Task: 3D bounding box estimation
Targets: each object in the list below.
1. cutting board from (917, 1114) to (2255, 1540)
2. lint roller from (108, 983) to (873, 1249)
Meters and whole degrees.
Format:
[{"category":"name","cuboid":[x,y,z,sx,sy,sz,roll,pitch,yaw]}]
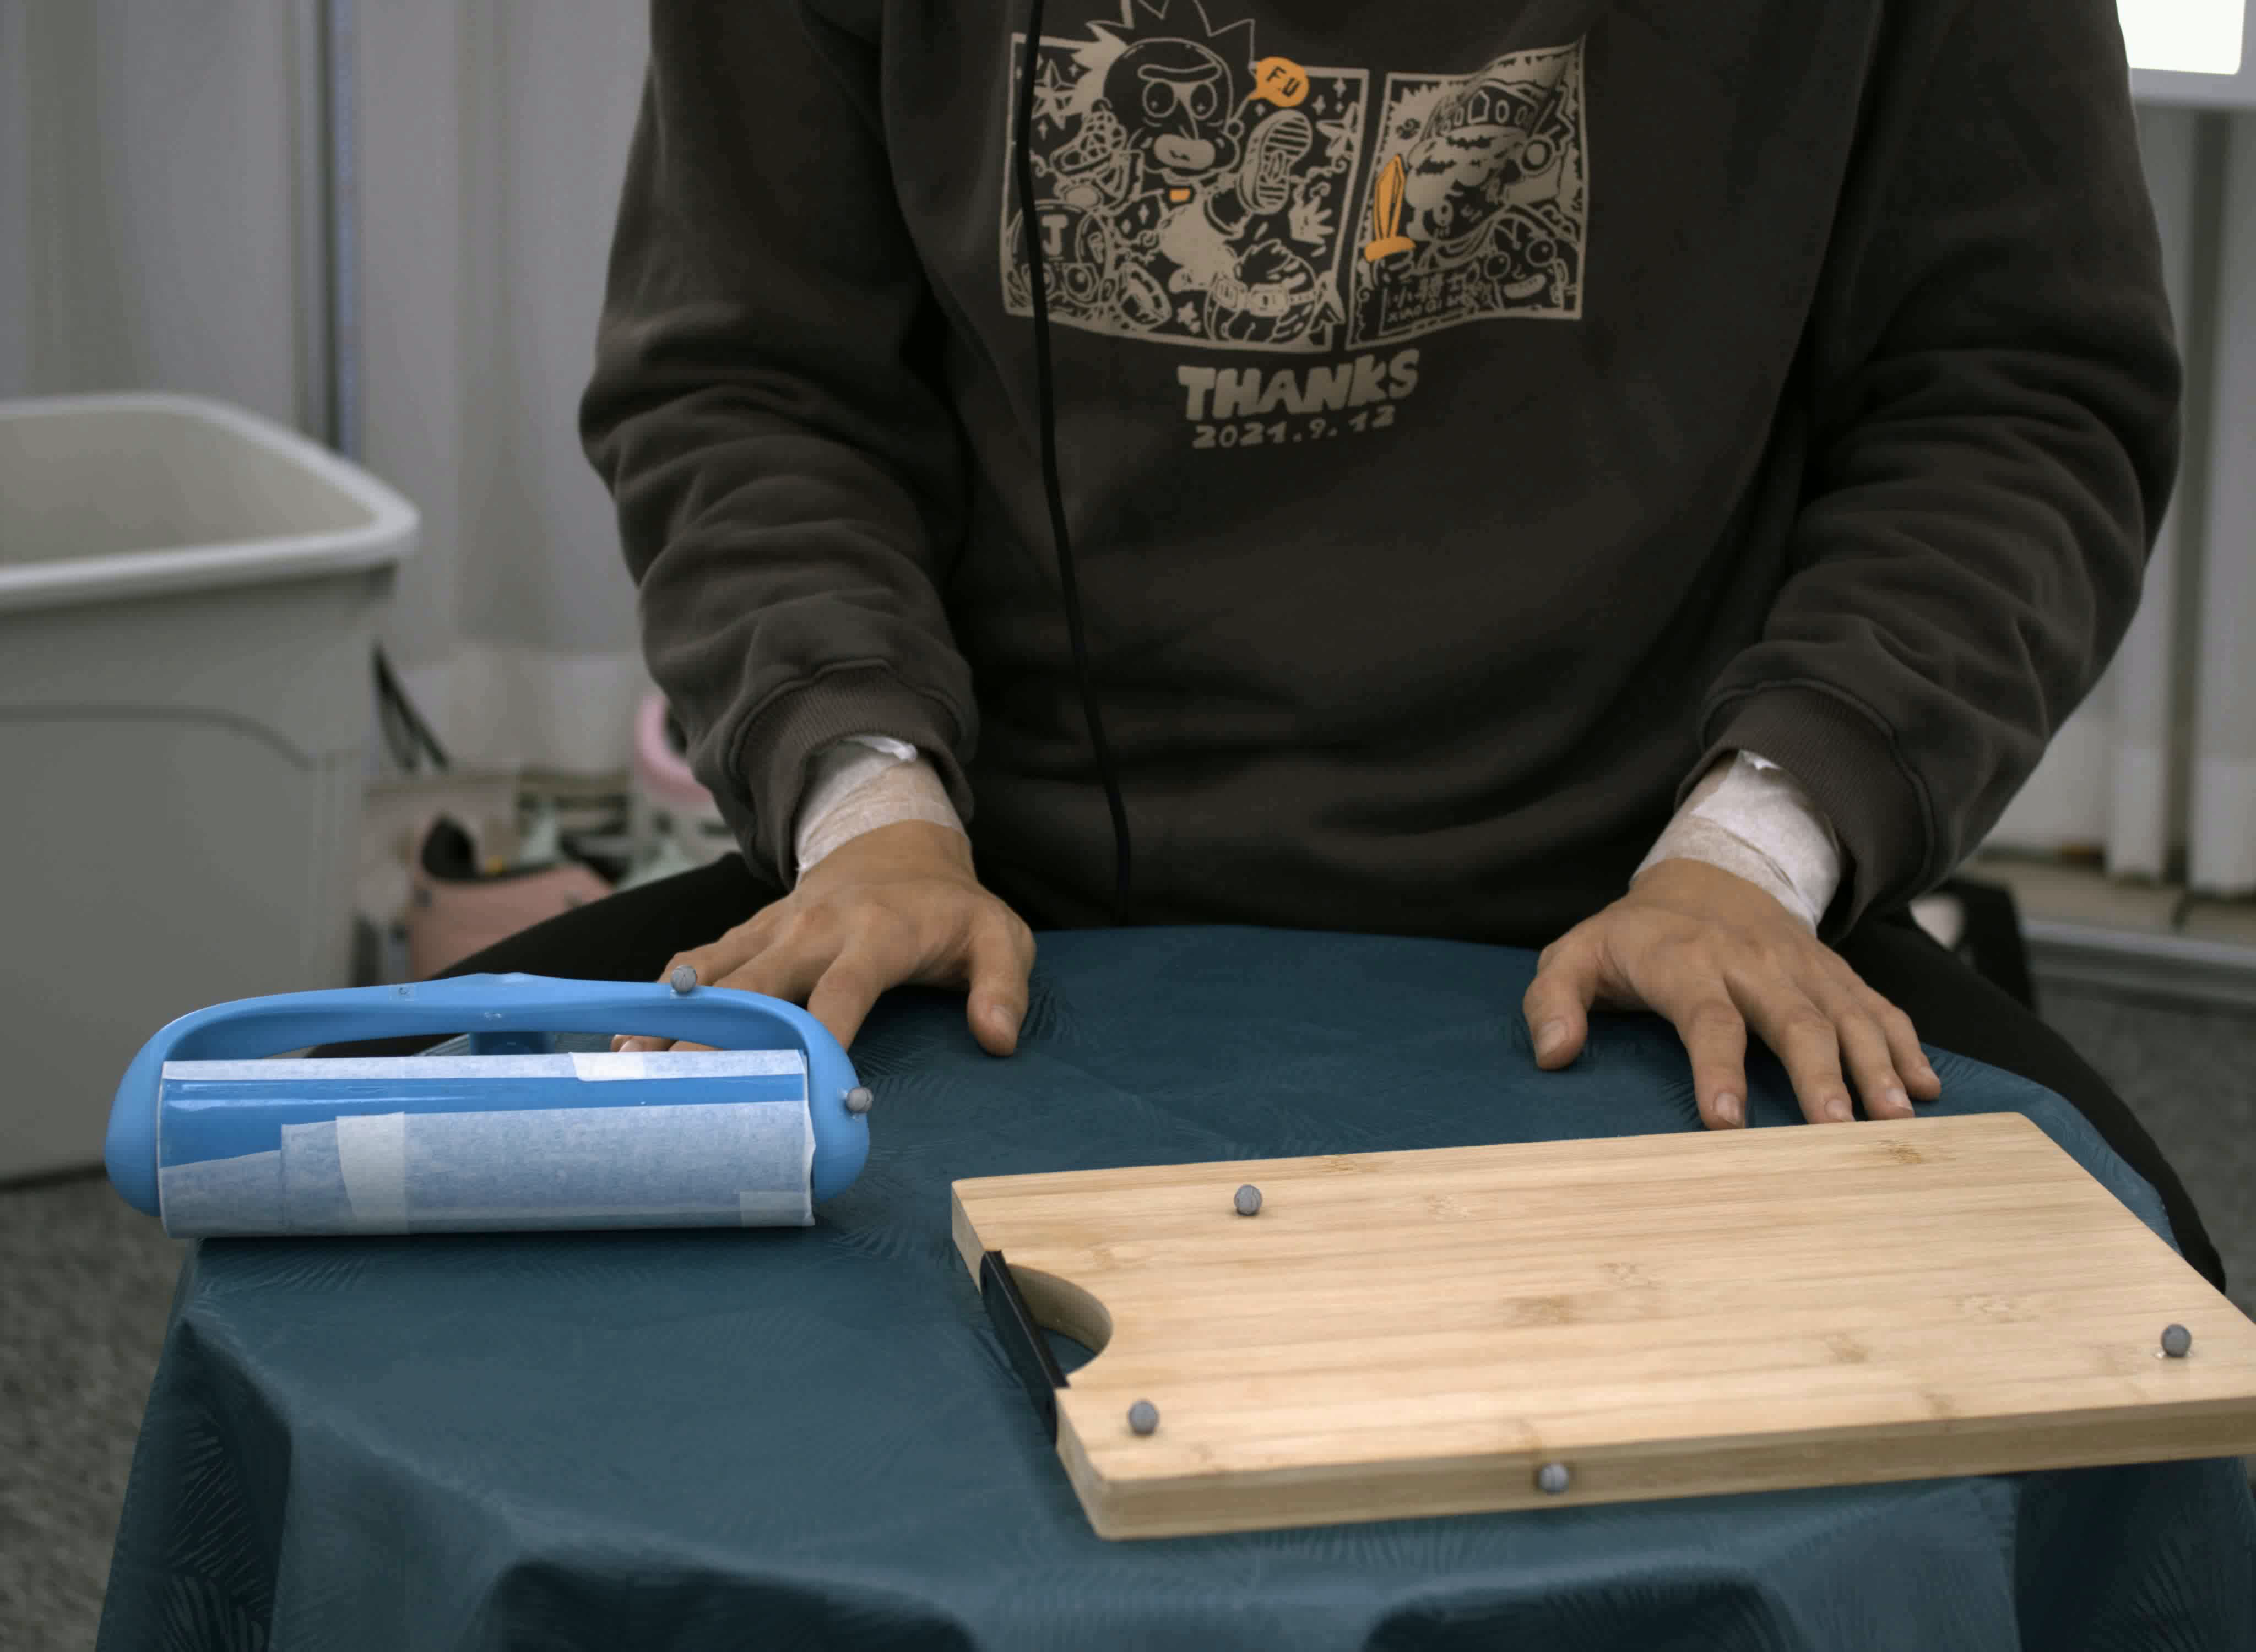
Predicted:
[{"category":"cutting board","cuboid":[0.129,0.139,1.510,0.349,0.024,0.248,-3,15,-12]},{"category":"lint roller","cuboid":[-0.198,0.079,1.638,0.229,0.068,0.179,-3,17,-7]}]
